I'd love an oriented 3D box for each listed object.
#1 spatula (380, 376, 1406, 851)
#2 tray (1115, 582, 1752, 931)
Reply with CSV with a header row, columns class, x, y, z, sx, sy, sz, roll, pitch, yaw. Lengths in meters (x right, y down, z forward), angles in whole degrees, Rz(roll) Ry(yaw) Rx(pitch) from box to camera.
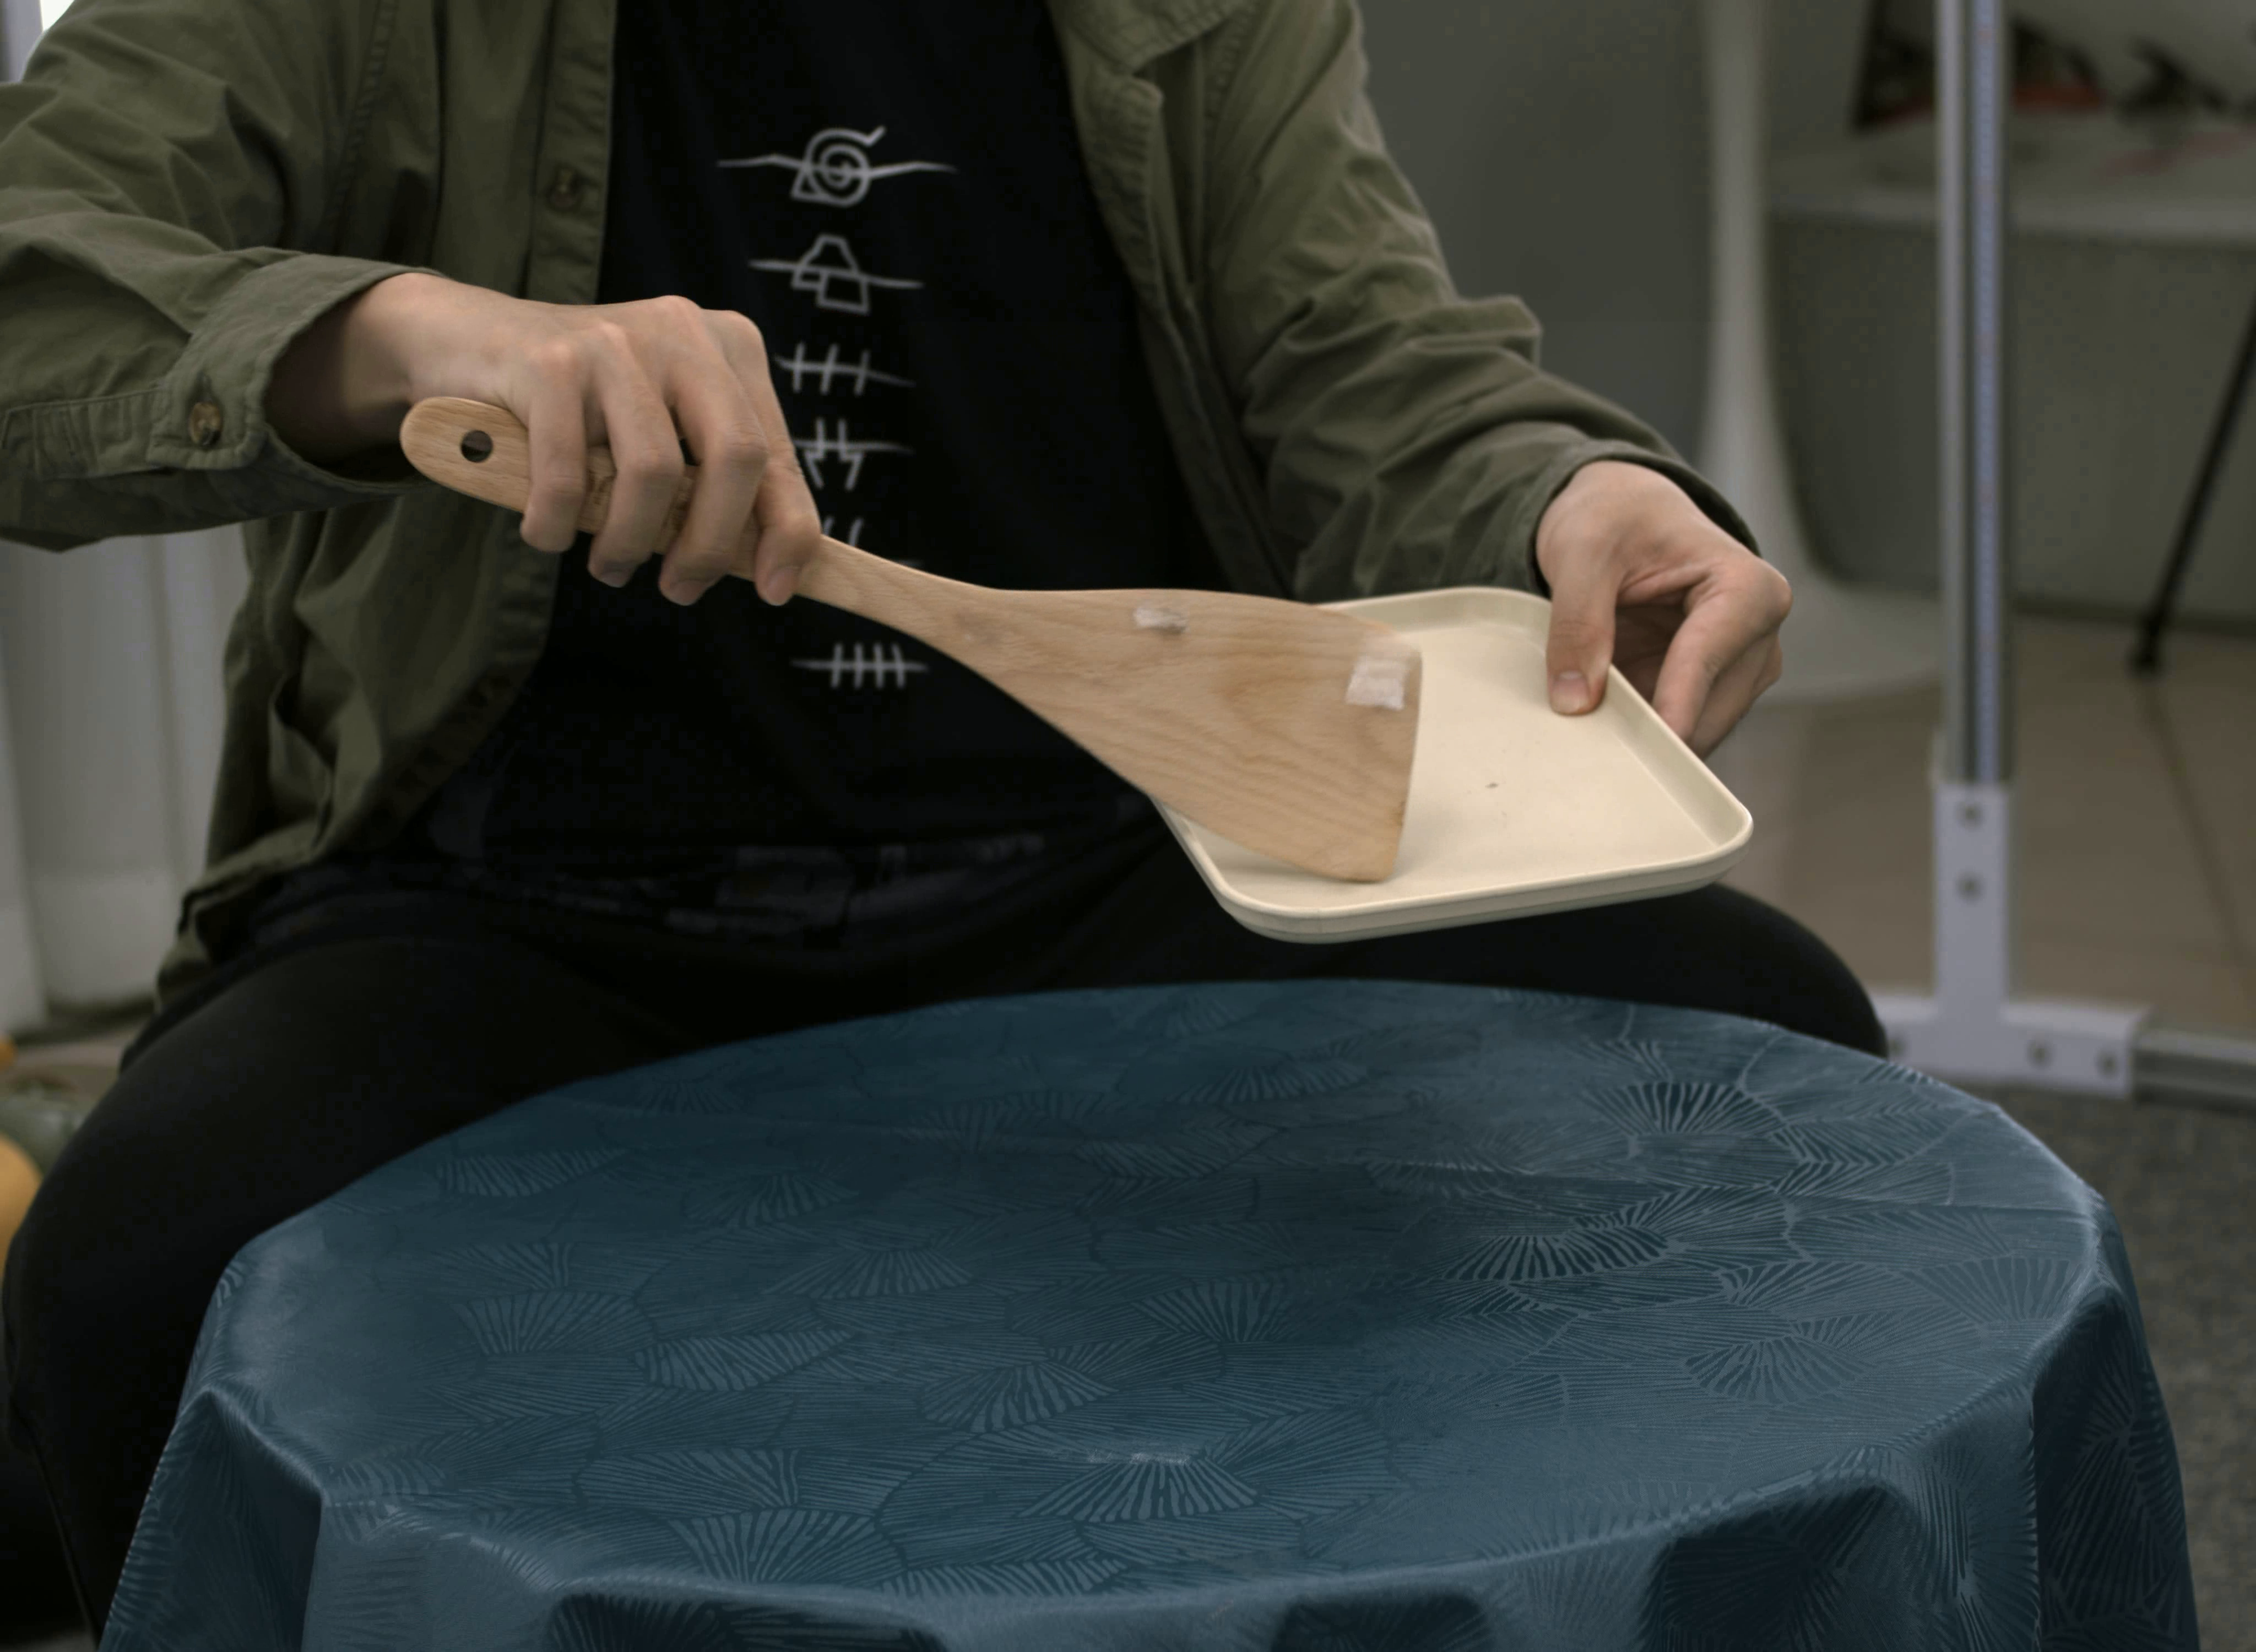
class,x,y,z,sx,sy,sz,roll,pitch,yaw
spatula,-0.068,-0.076,1.625,0.323,0.081,0.016,18,-4,-5
tray,0.086,-0.023,1.700,0.168,0.017,0.242,-7,23,-11
